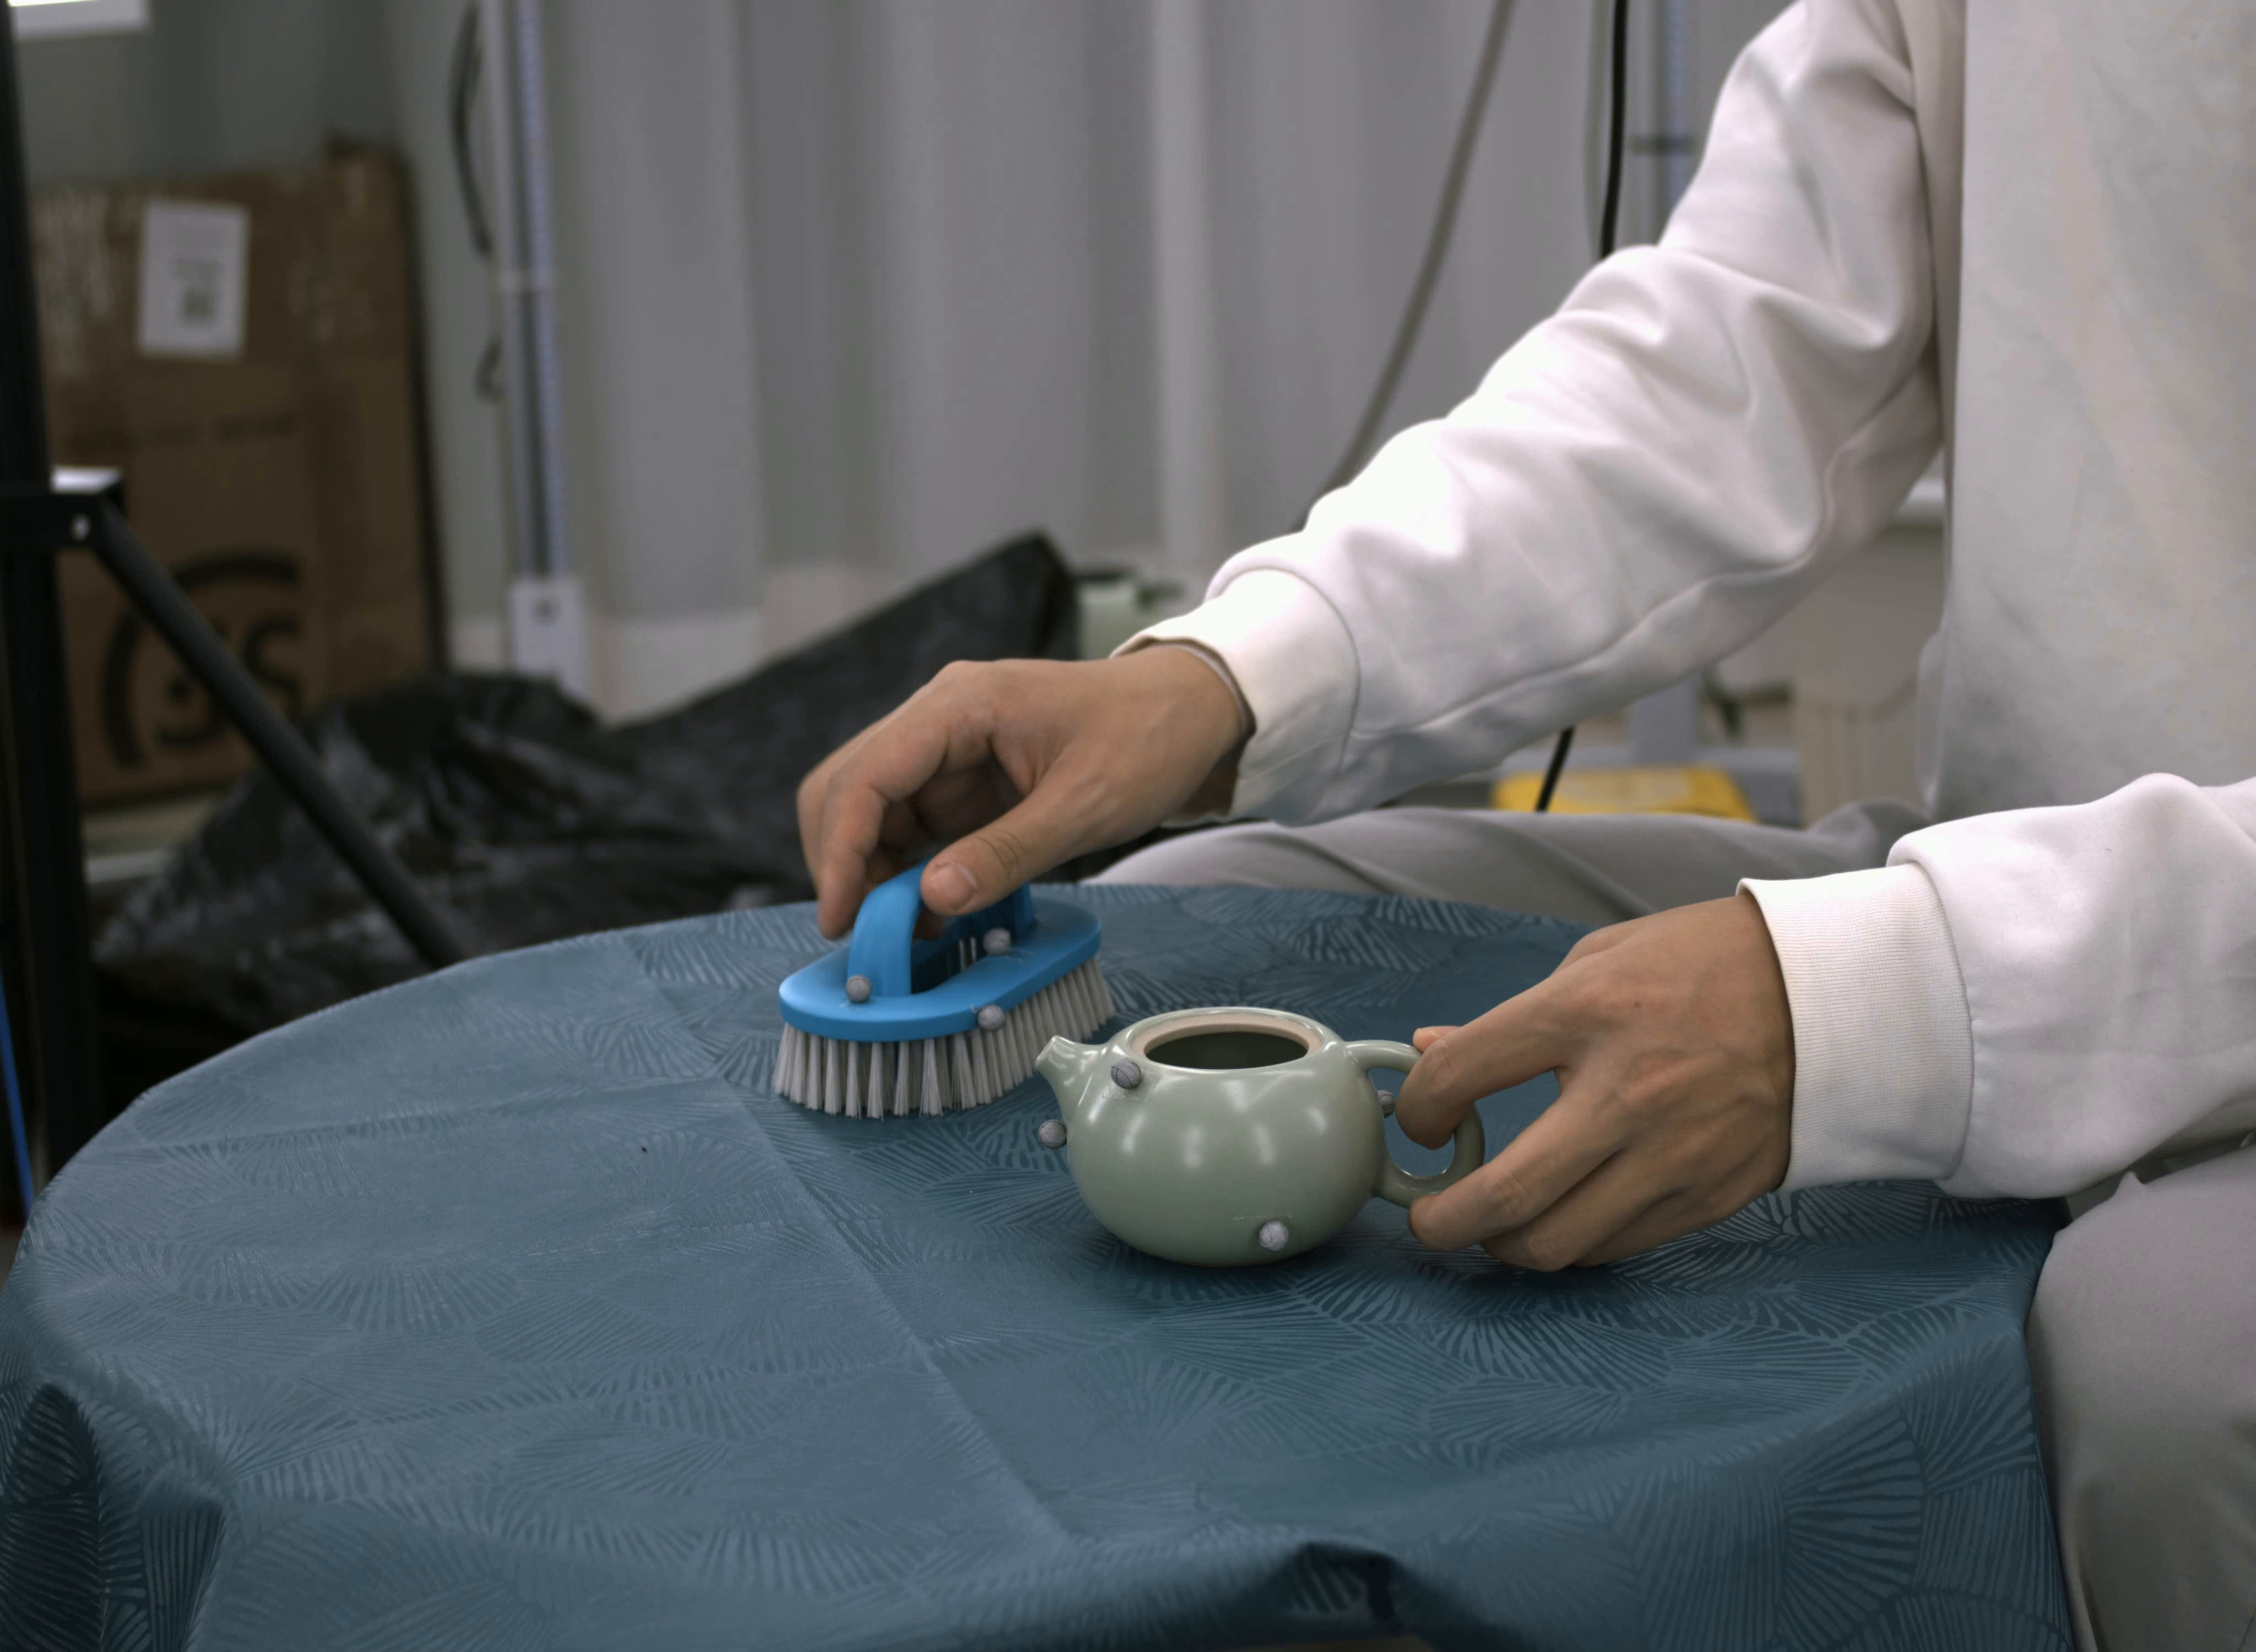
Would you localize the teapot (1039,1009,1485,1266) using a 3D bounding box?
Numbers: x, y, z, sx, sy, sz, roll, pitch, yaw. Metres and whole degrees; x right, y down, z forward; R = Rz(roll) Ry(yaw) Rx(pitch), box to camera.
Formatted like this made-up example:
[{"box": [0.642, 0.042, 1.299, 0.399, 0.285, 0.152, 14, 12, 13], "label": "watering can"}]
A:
[{"box": [0.038, 0.090, 1.511, 0.129, 0.061, 0.091, 2, 13, 11], "label": "teapot"}]

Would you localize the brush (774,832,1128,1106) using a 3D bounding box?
[{"box": [-0.058, 0.040, 1.689, 0.086, 0.064, 0.139, 1, 15, 29], "label": "brush"}]
